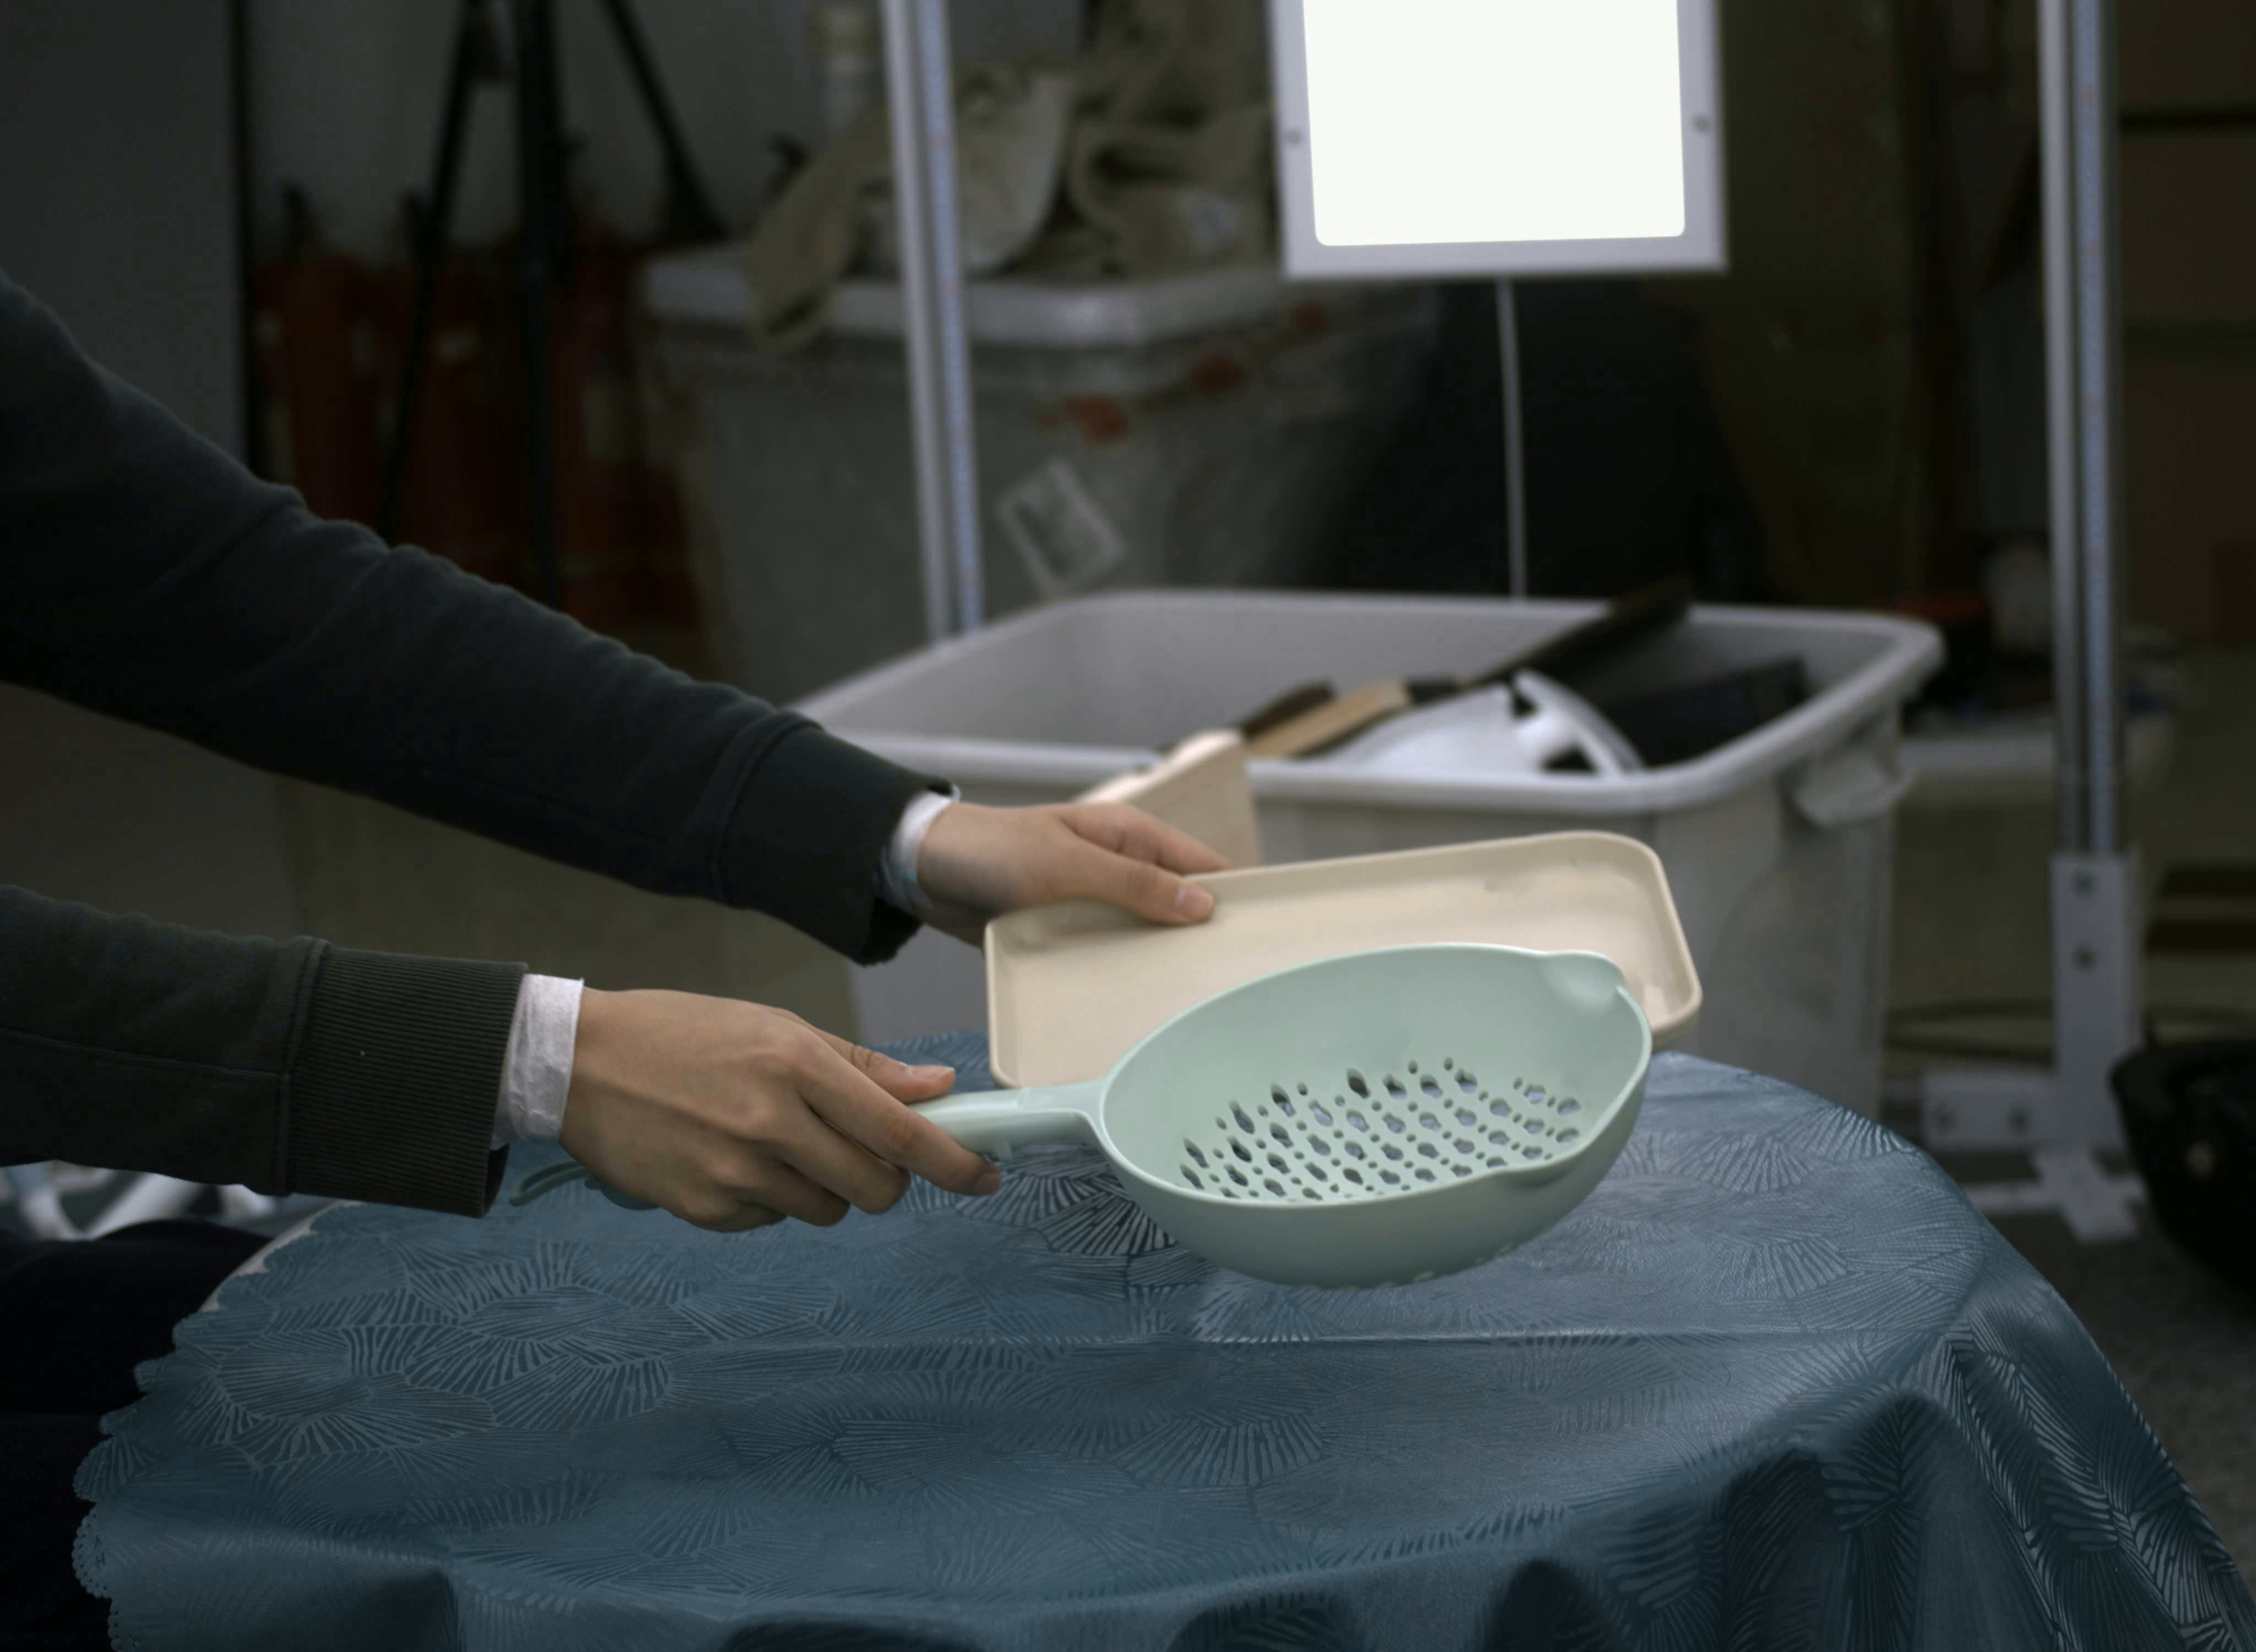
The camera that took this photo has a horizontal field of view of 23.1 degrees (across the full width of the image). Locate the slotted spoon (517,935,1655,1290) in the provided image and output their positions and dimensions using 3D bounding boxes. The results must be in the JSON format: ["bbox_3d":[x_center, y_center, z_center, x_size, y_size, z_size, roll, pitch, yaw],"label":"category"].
[{"bbox_3d":[-0.018,0.092,1.687,0.361,0.076,0.167,2,25,12],"label":"slotted spoon"}]

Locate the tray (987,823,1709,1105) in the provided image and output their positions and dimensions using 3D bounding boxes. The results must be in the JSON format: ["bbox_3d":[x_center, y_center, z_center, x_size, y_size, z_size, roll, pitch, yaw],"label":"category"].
[{"bbox_3d":[0.072,0.050,1.870,0.239,0.017,0.171,-8,23,2],"label":"tray"}]
